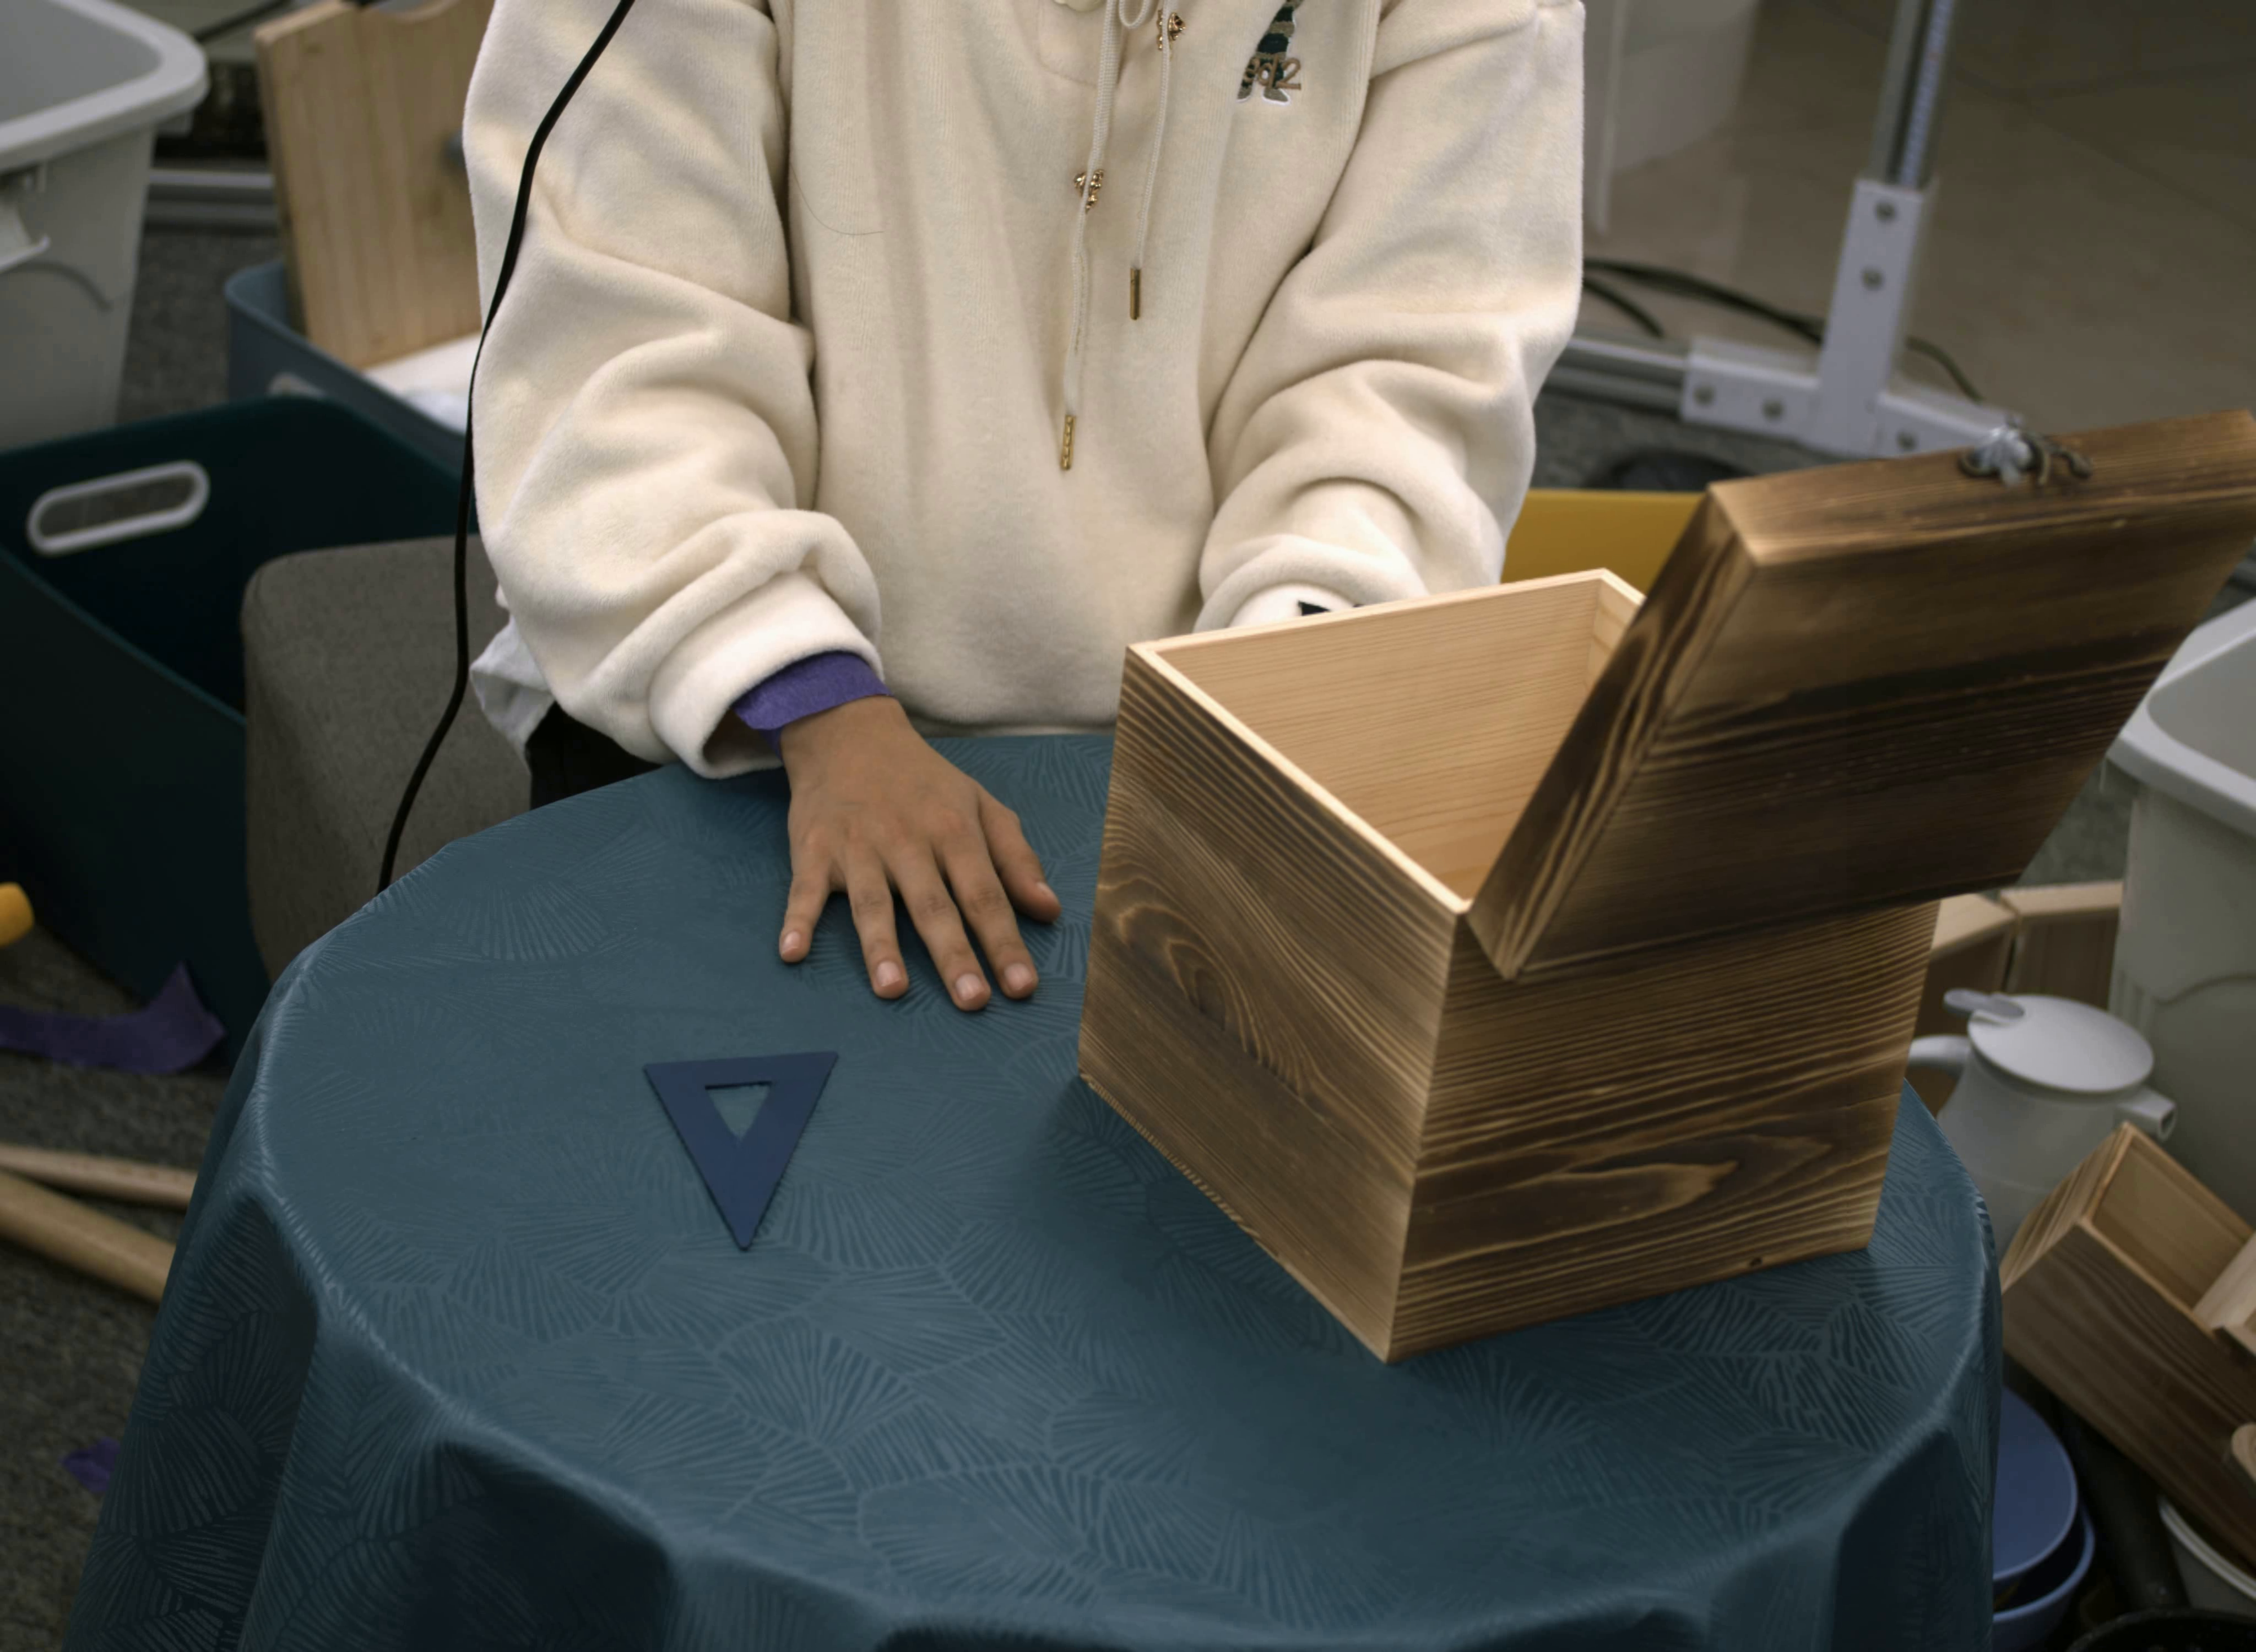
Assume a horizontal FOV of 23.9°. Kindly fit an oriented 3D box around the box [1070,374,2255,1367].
[{"bbox_3d":[0.165,-0.019,1.726,0.207,0.374,0.325,-9,31,-30],"label":"box"}]

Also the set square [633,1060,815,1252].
[{"bbox_3d":[-0.150,0.105,1.798,0.061,0.006,0.132,14,27,9],"label":"set square"}]
